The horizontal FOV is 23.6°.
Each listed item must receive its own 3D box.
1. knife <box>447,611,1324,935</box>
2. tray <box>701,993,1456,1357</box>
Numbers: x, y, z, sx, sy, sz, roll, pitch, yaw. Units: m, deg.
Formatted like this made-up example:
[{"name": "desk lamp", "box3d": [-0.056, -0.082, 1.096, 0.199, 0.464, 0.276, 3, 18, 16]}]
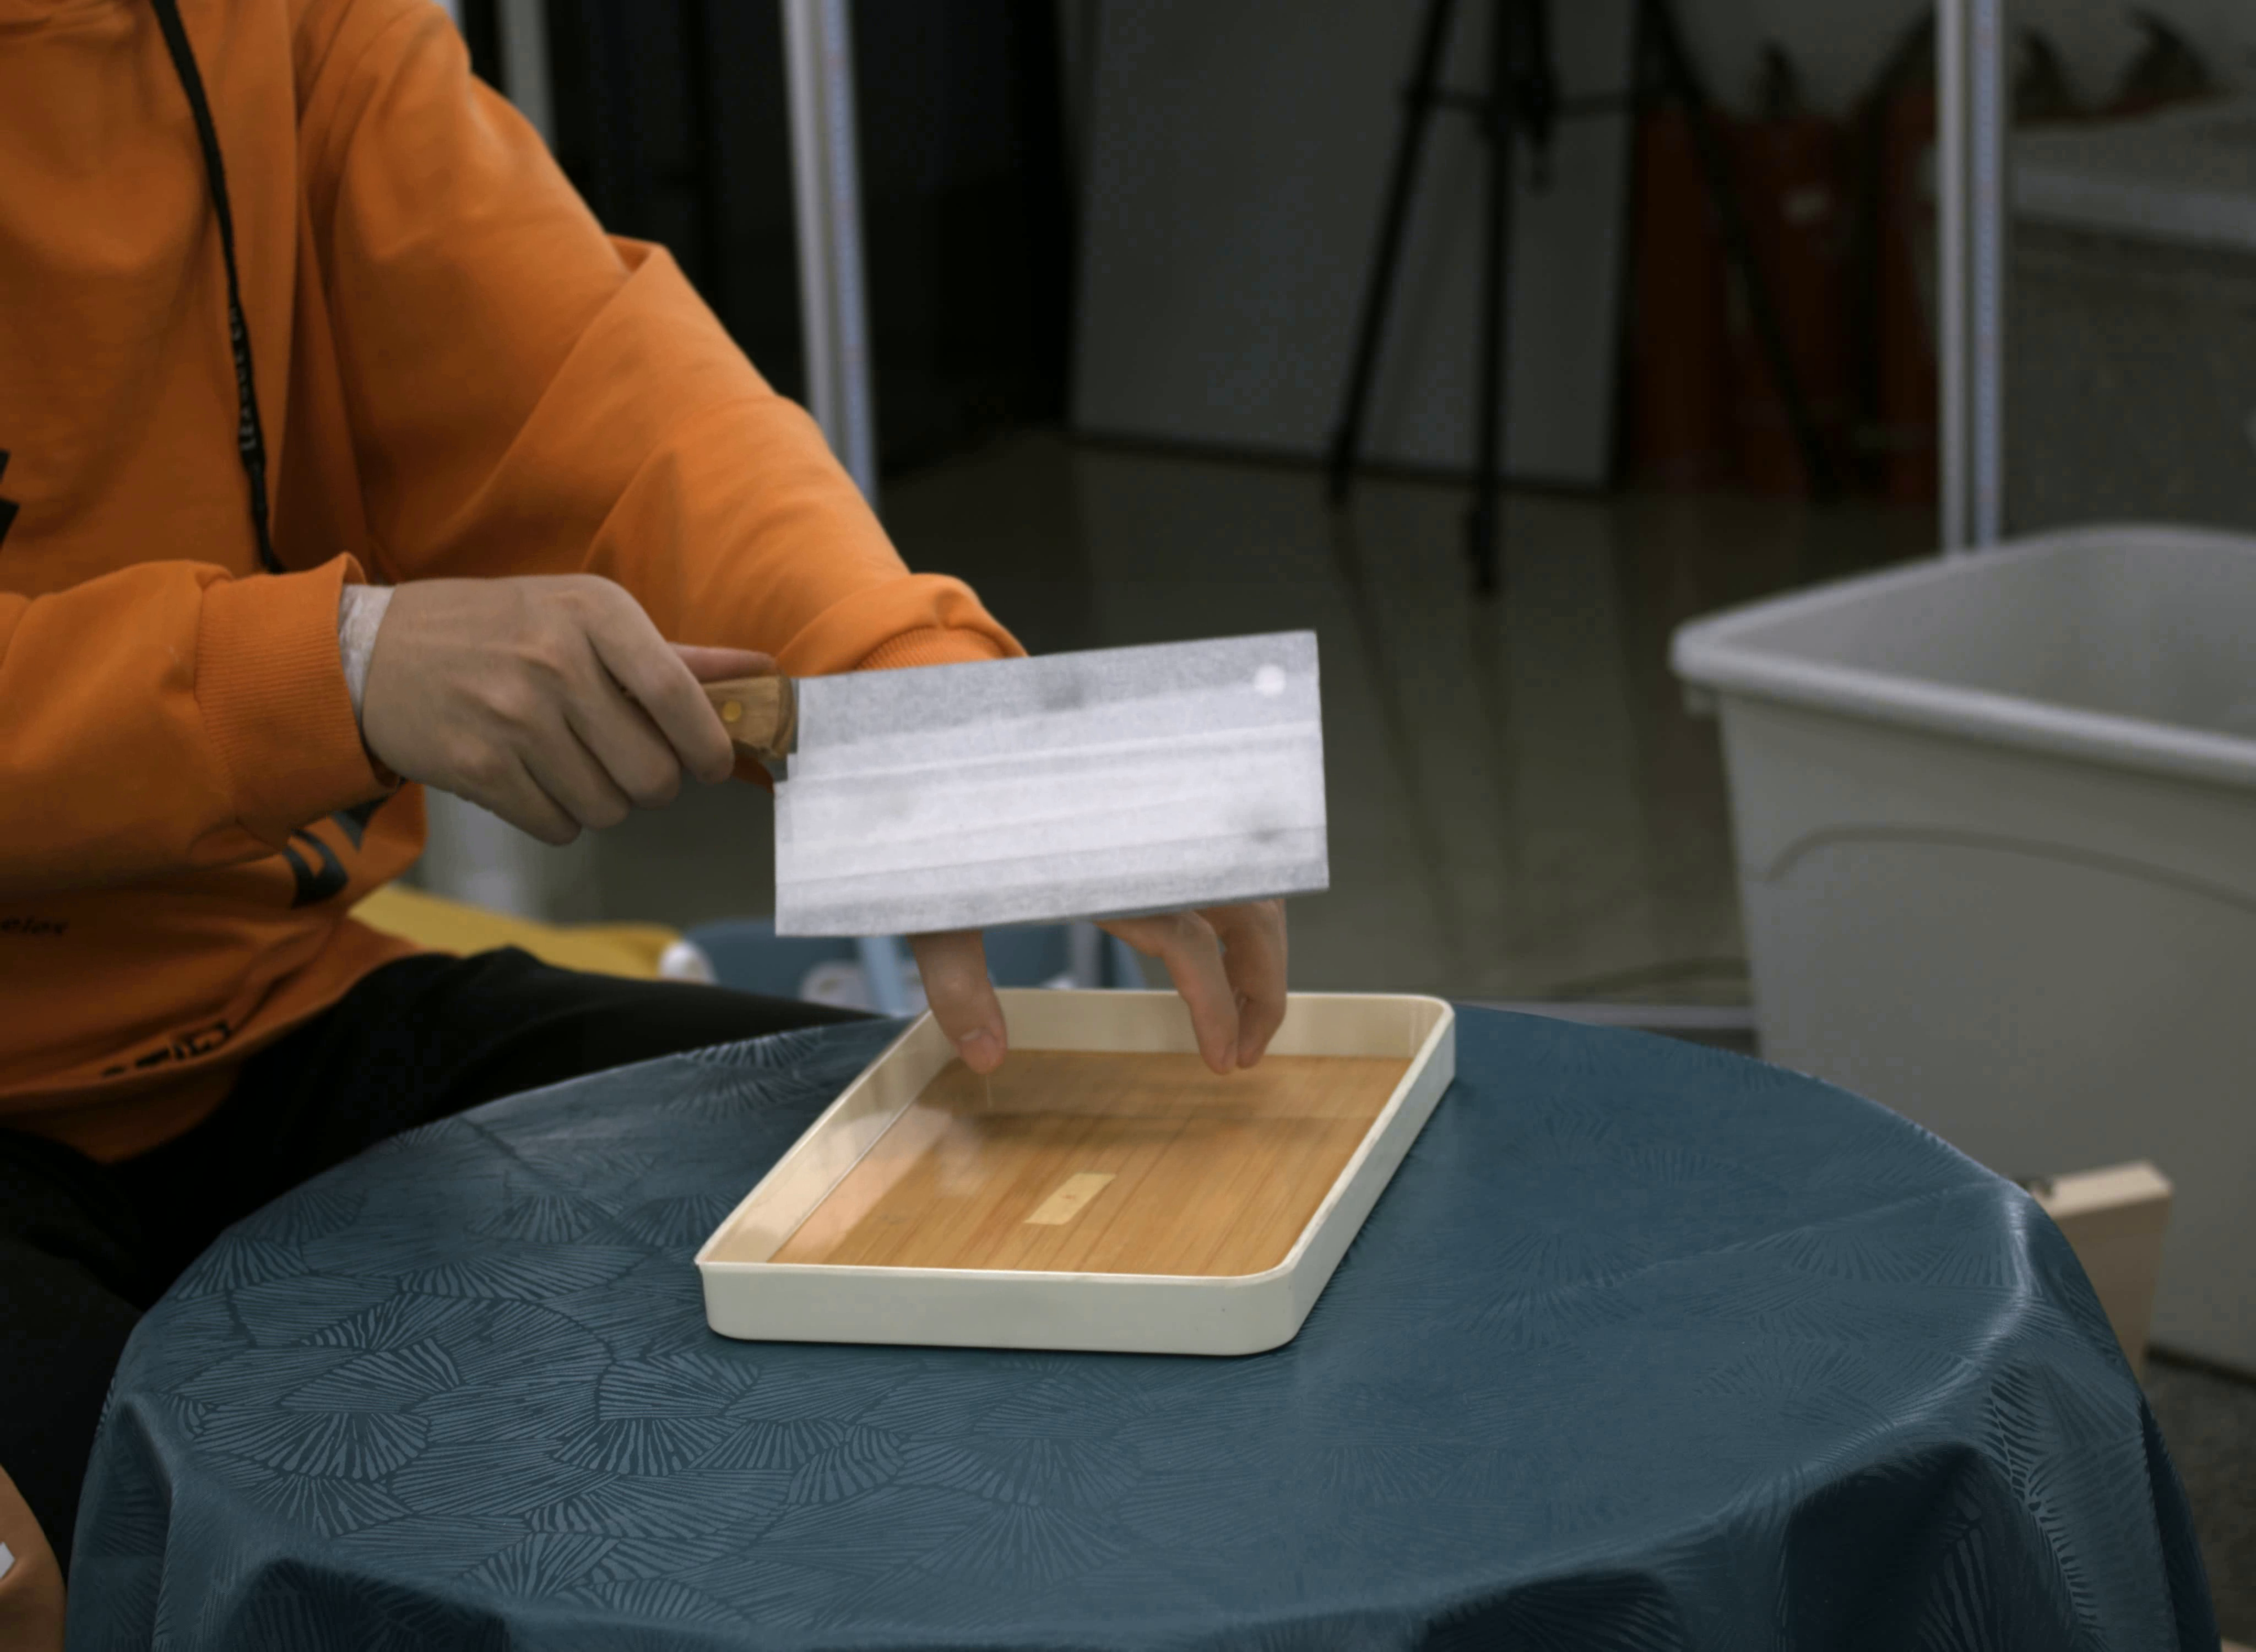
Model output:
[{"name": "knife", "box3d": [-0.083, -0.012, 1.803, 0.304, 0.094, 0.021, -6, -13, 14]}, {"name": "tray", "box3d": [-0.008, 0.110, 1.762, 0.191, 0.028, 0.298, 0, 15, 15]}]
